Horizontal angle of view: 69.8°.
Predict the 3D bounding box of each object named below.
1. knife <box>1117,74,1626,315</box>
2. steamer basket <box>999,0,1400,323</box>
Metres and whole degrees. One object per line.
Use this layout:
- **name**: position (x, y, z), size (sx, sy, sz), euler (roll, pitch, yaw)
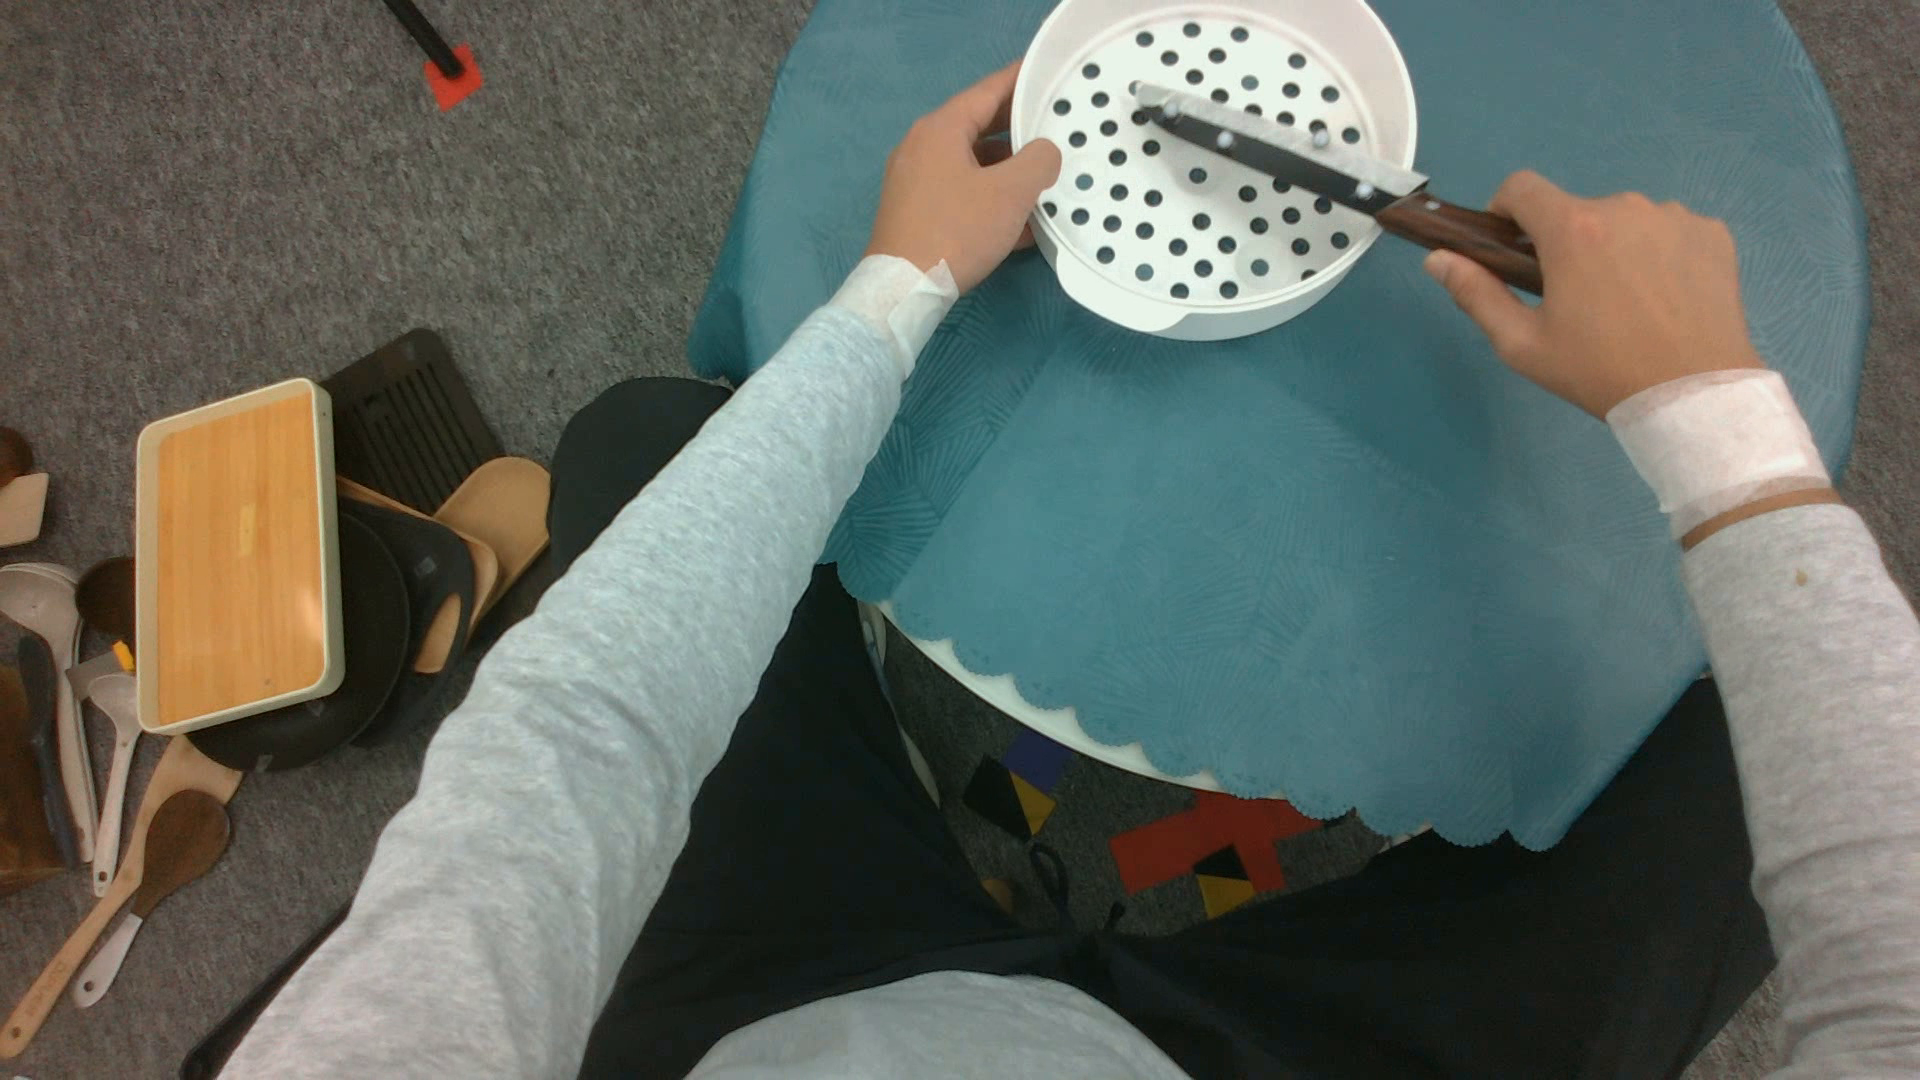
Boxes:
- **knife**: position (0.188, -0.178, 0.672), size (0.289, 0.020, 0.050), euler (35, 55, 29)
- **steamer basket**: position (0.122, -0.213, 0.723), size (0.202, 0.069, 0.231), euler (28, 82, 8)
